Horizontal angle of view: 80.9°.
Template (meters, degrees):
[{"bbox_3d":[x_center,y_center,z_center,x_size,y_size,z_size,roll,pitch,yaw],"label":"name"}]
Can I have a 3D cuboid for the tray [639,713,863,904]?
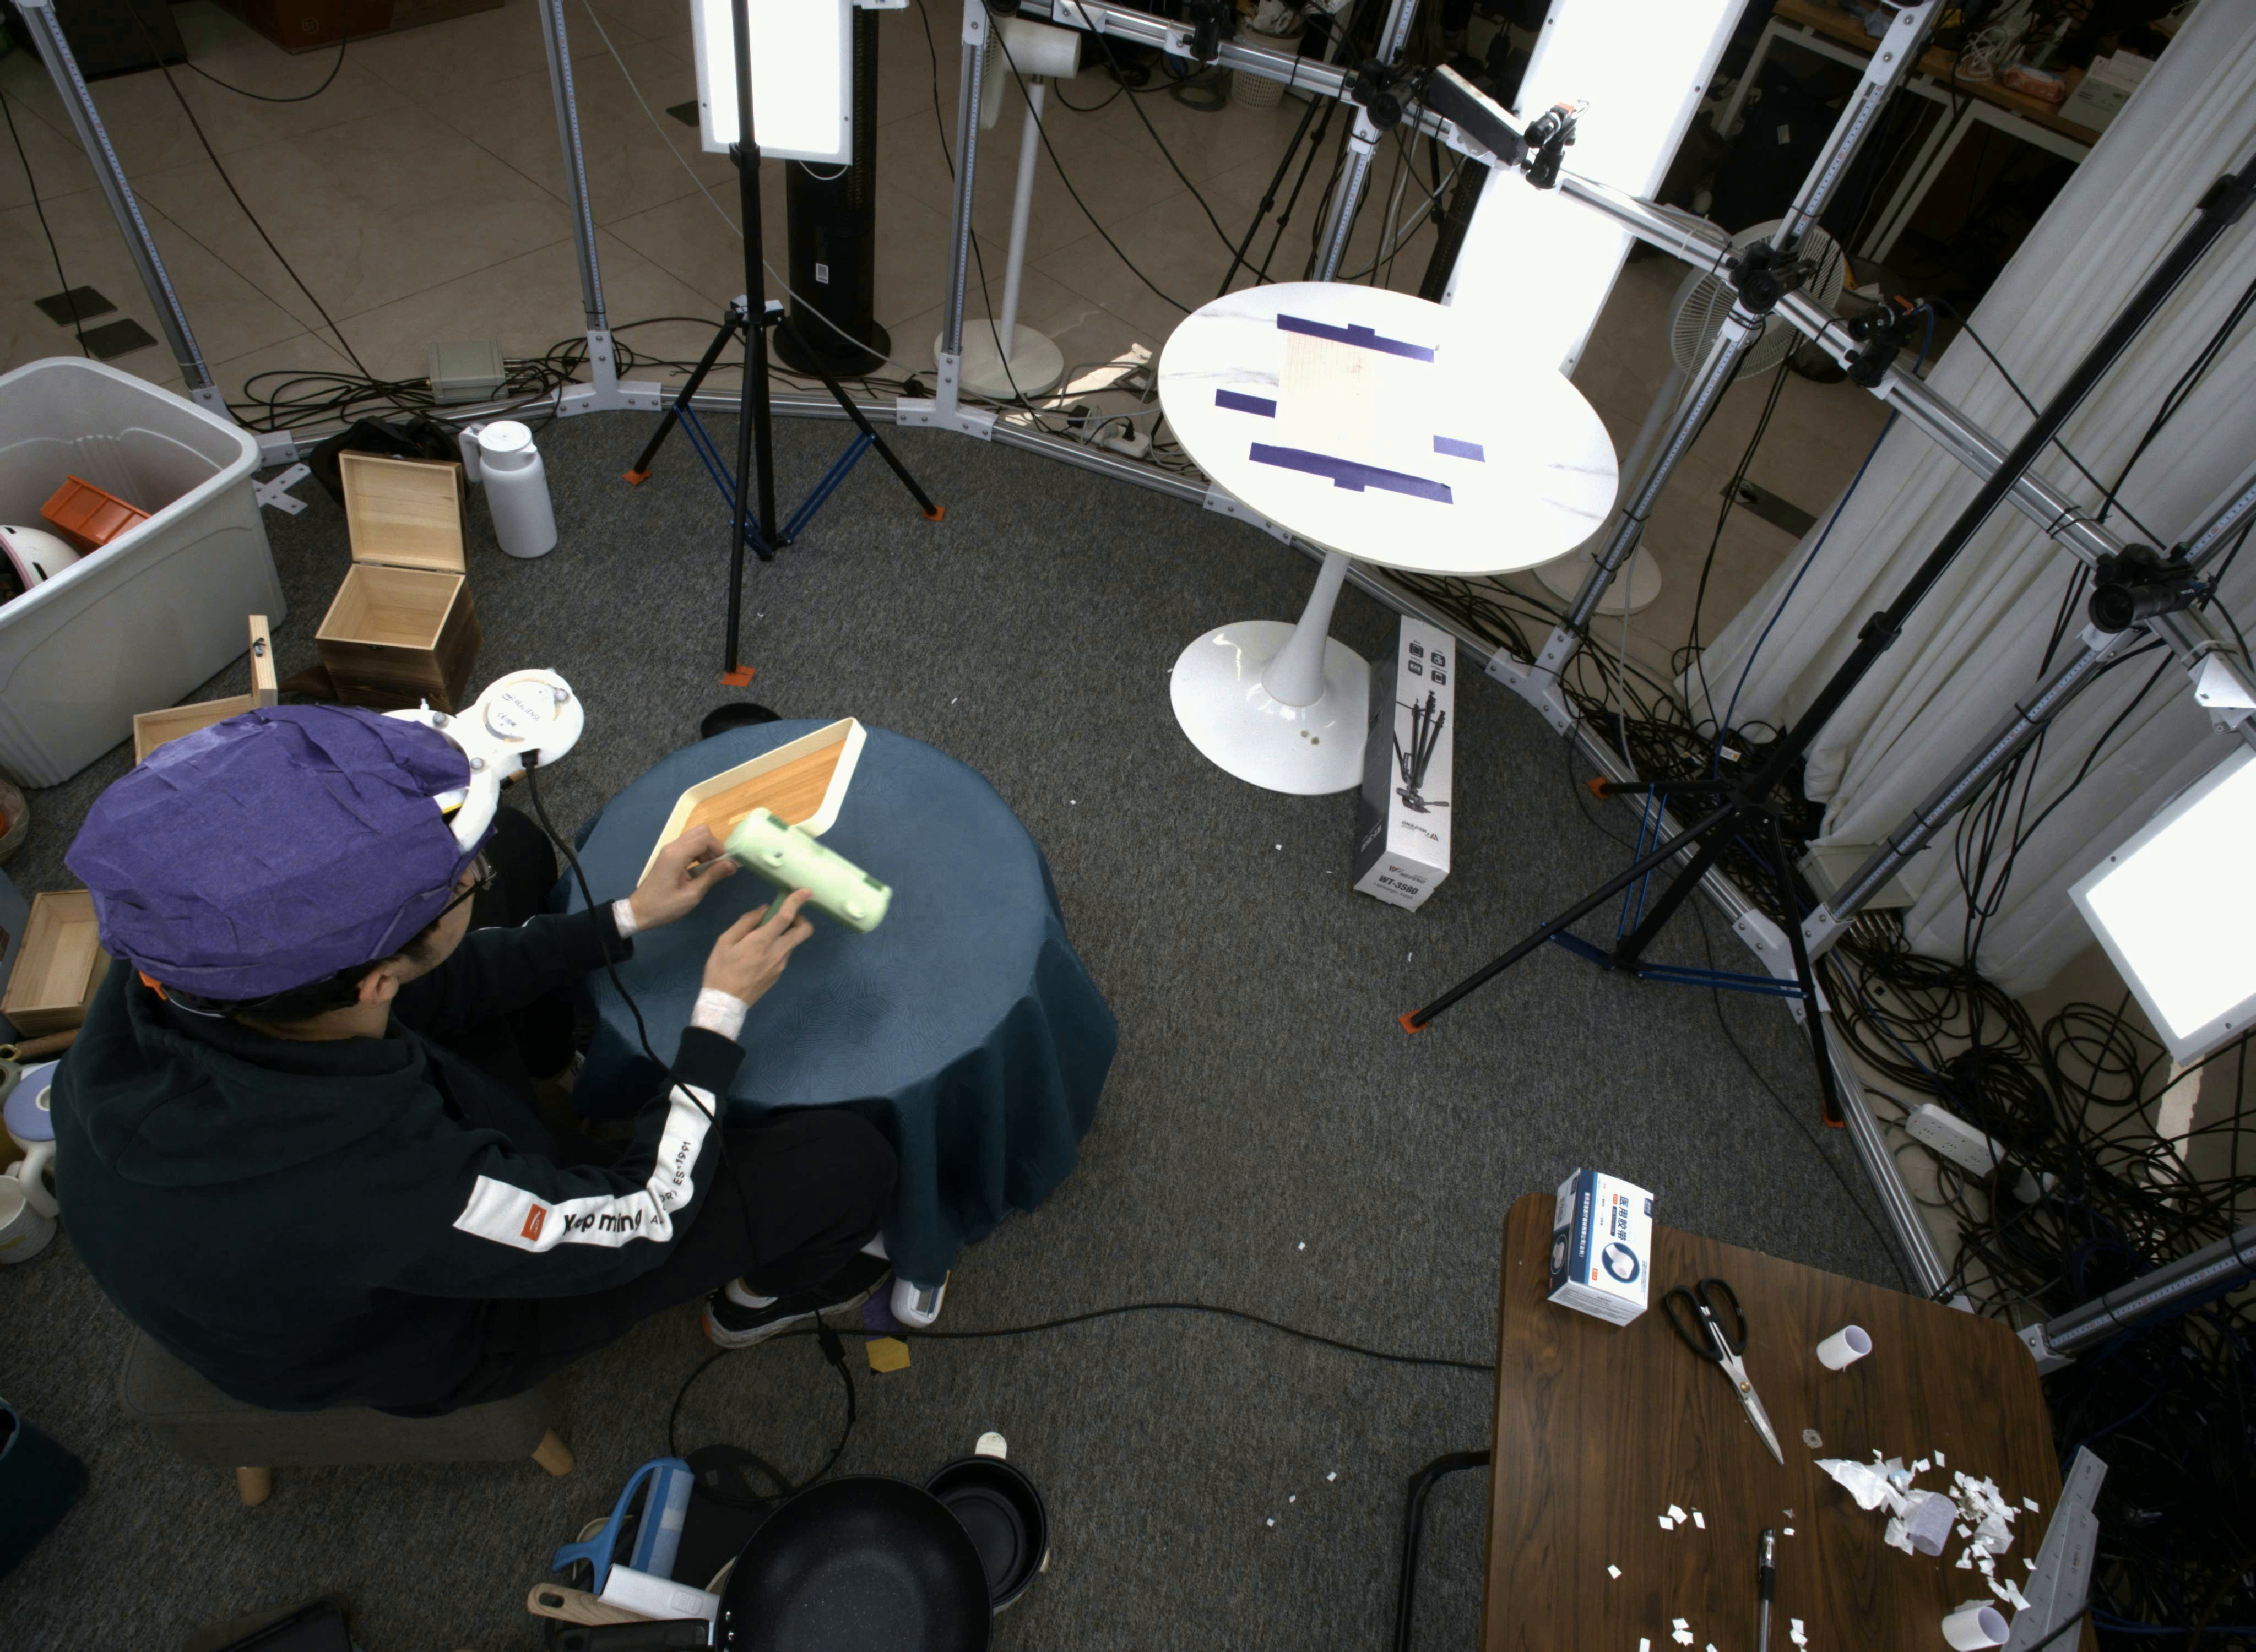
[{"bbox_3d":[-0.464,-0.022,1.587,0.294,0.028,0.188,-20,39,23],"label":"tray"}]

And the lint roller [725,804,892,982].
[{"bbox_3d":[-0.389,0.100,1.472,0.205,0.079,0.183,37,77,-32],"label":"lint roller"}]
